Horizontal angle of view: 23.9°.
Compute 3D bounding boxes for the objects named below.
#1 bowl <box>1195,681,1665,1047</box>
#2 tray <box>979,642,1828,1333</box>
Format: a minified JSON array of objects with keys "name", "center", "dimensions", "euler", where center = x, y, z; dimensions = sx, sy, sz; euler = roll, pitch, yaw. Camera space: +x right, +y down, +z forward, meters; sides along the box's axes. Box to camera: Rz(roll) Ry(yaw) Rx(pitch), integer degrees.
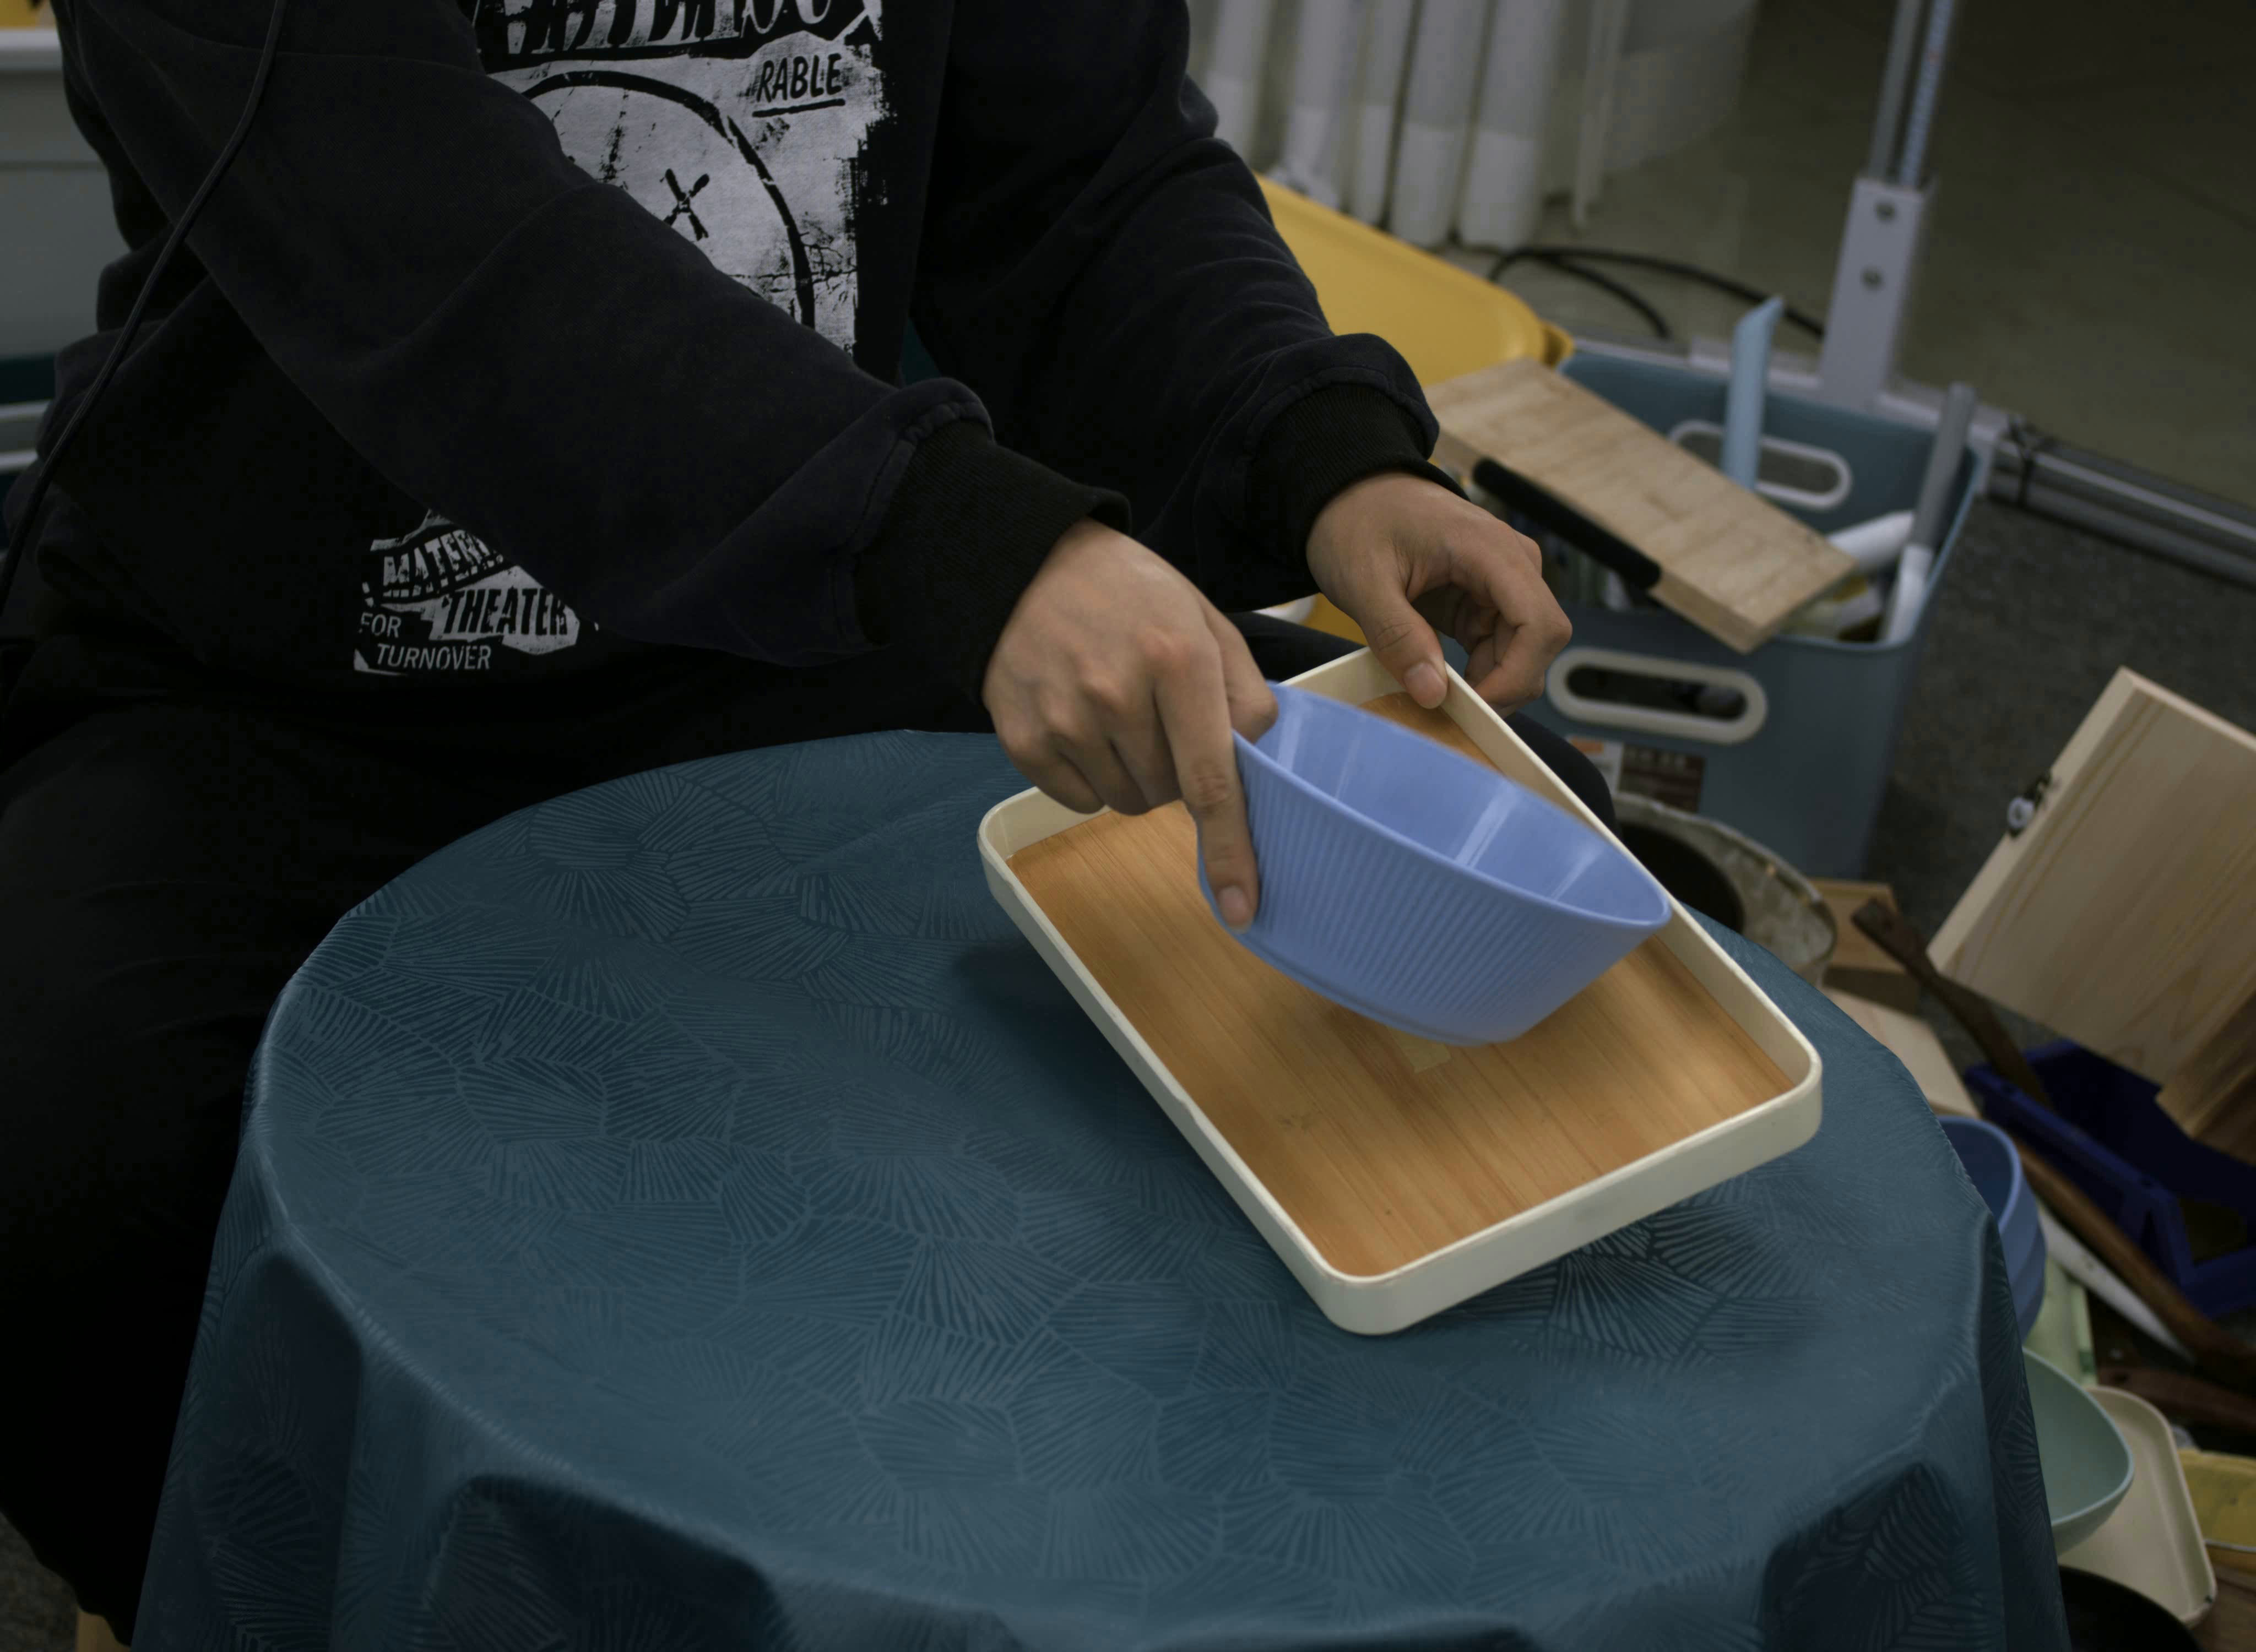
[{"name":"bowl","center":[0.089,0.019,1.795],"dimensions":[0.175,0.070,0.176],"euler":[26,10,-5]},{"name":"tray","center":[0.091,0.050,1.854],"dimensions":[0.191,0.027,0.303],"euler":[-23,40,-15]}]
